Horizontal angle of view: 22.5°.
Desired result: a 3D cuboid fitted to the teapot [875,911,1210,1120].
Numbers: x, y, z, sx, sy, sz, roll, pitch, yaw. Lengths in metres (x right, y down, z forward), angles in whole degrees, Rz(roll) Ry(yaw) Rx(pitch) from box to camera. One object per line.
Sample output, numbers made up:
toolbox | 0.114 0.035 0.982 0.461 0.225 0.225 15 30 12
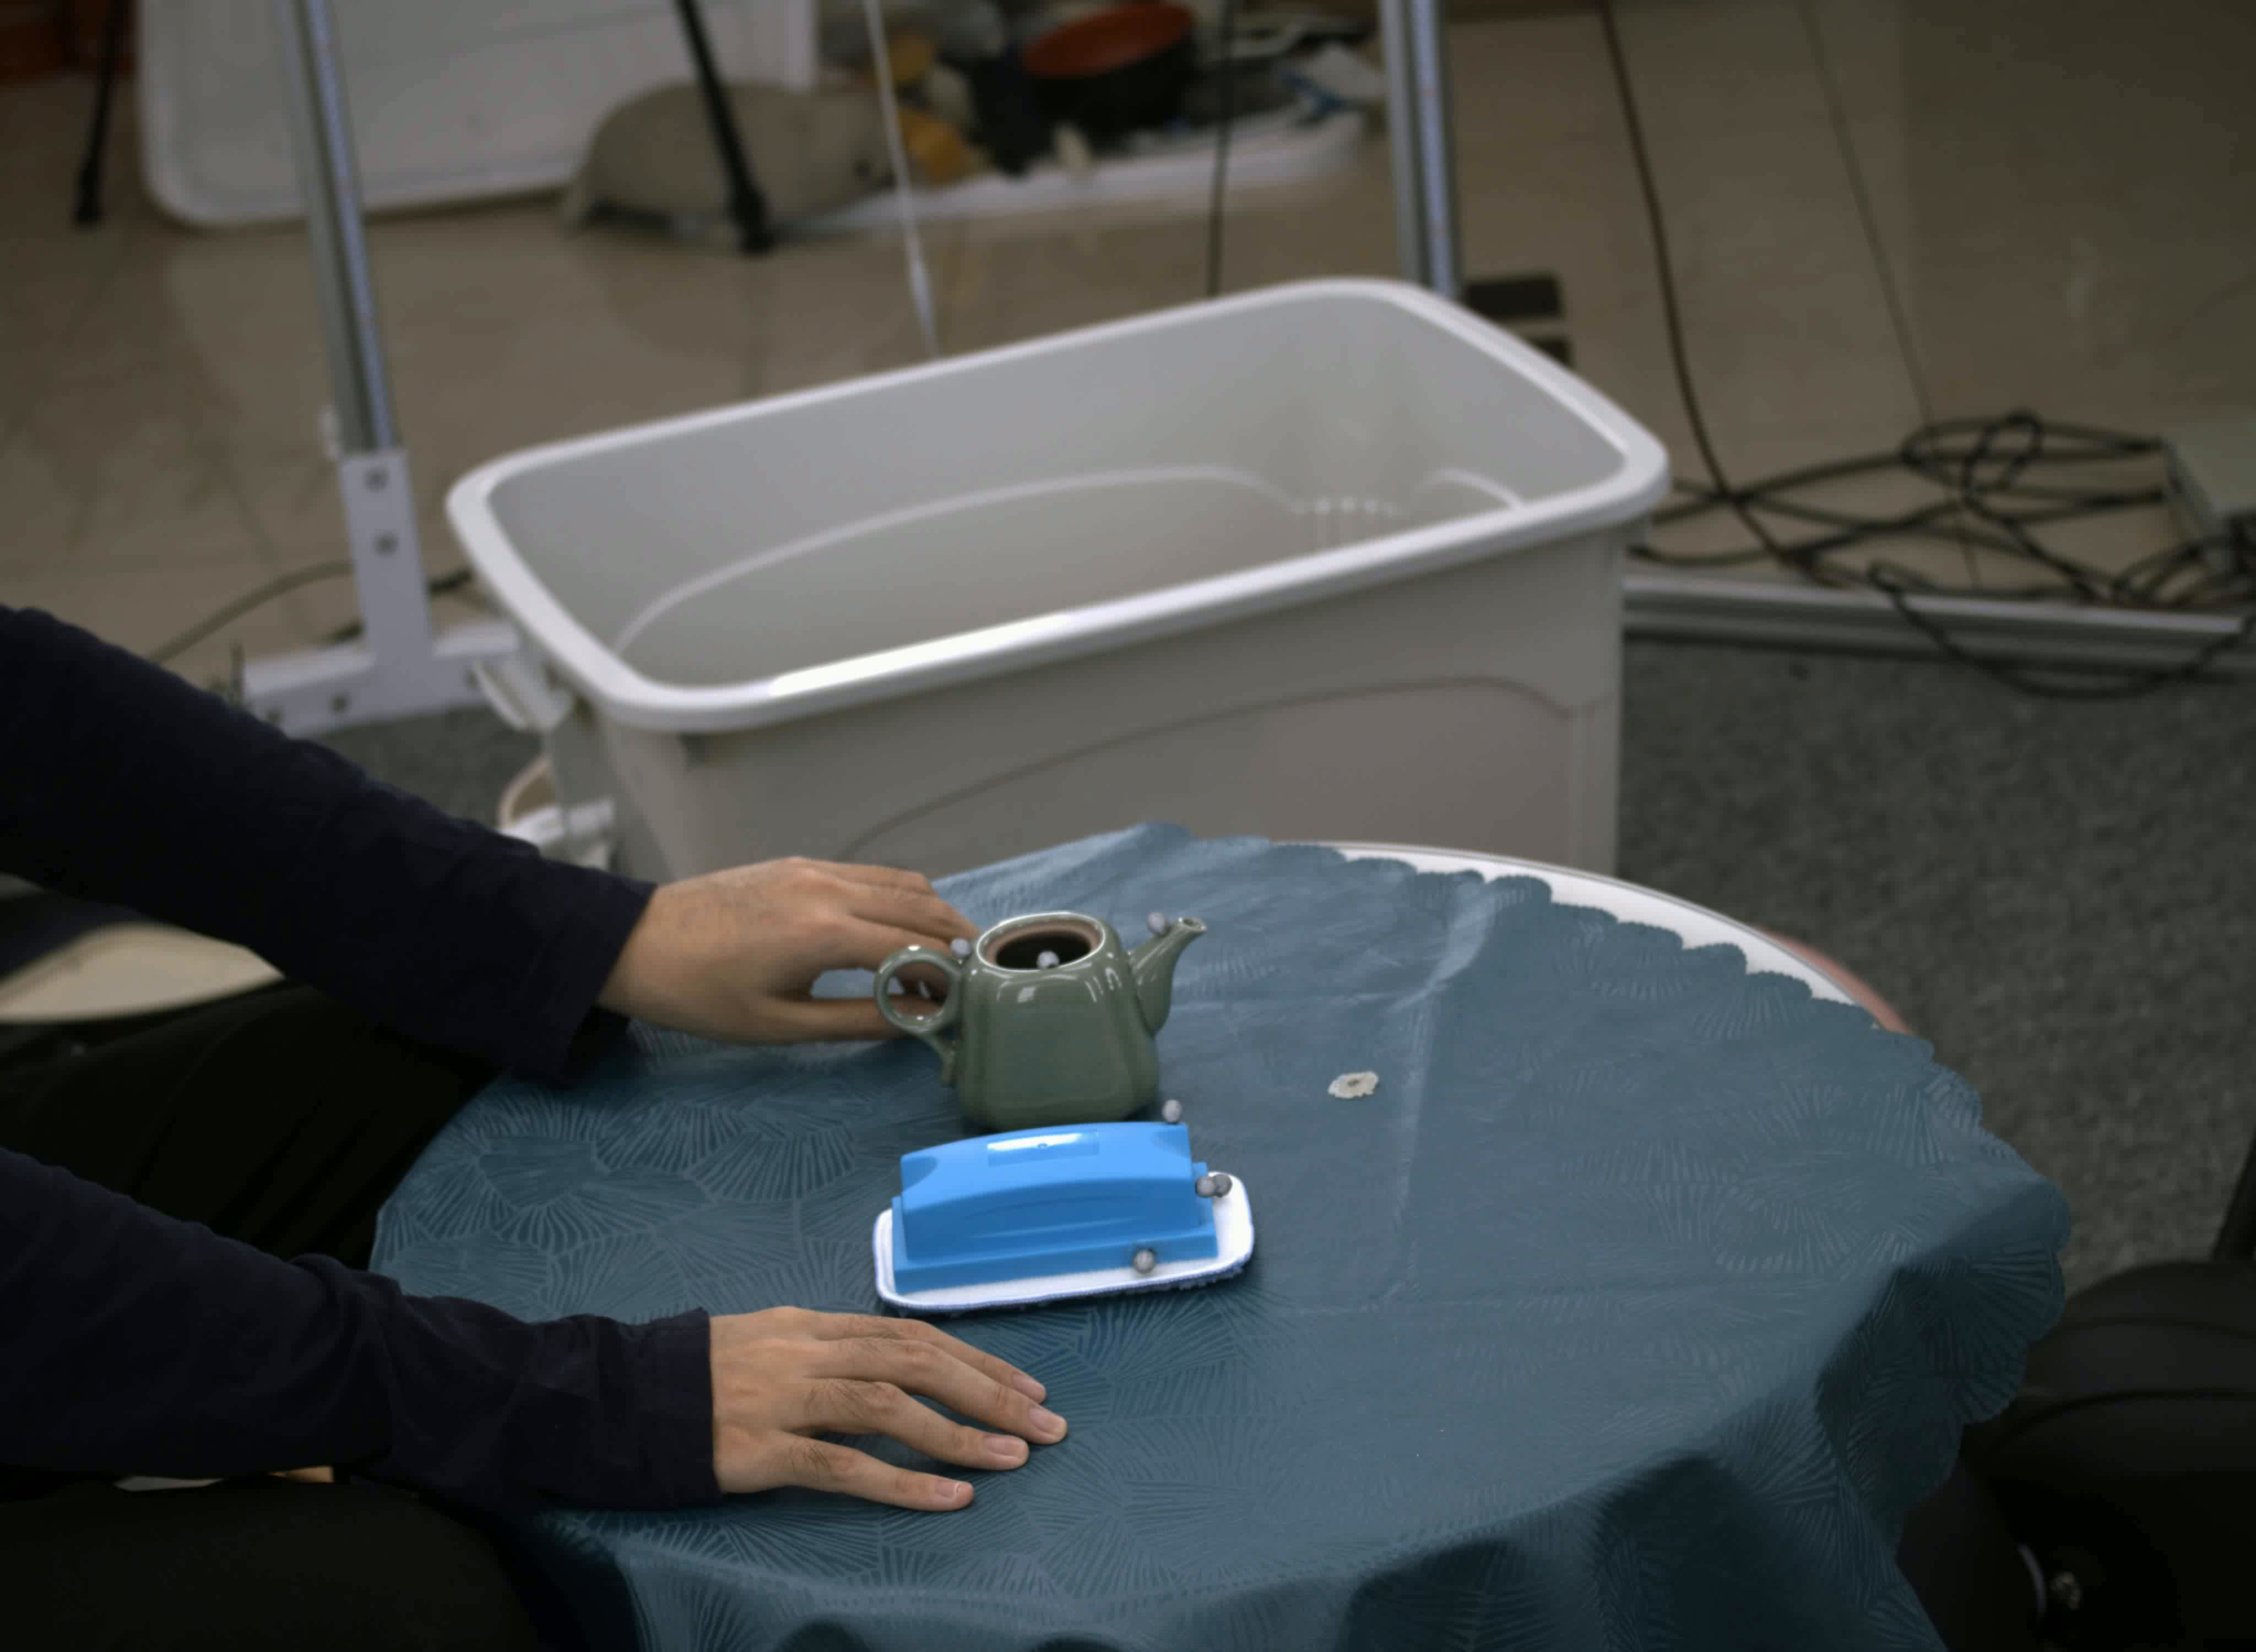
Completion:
teapot | -0.030 0.075 2.205 0.132 0.076 0.078 -8 25 0

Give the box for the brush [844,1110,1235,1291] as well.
brush | -0.033 0.135 2.091 0.144 0.057 0.083 -3 22 1
